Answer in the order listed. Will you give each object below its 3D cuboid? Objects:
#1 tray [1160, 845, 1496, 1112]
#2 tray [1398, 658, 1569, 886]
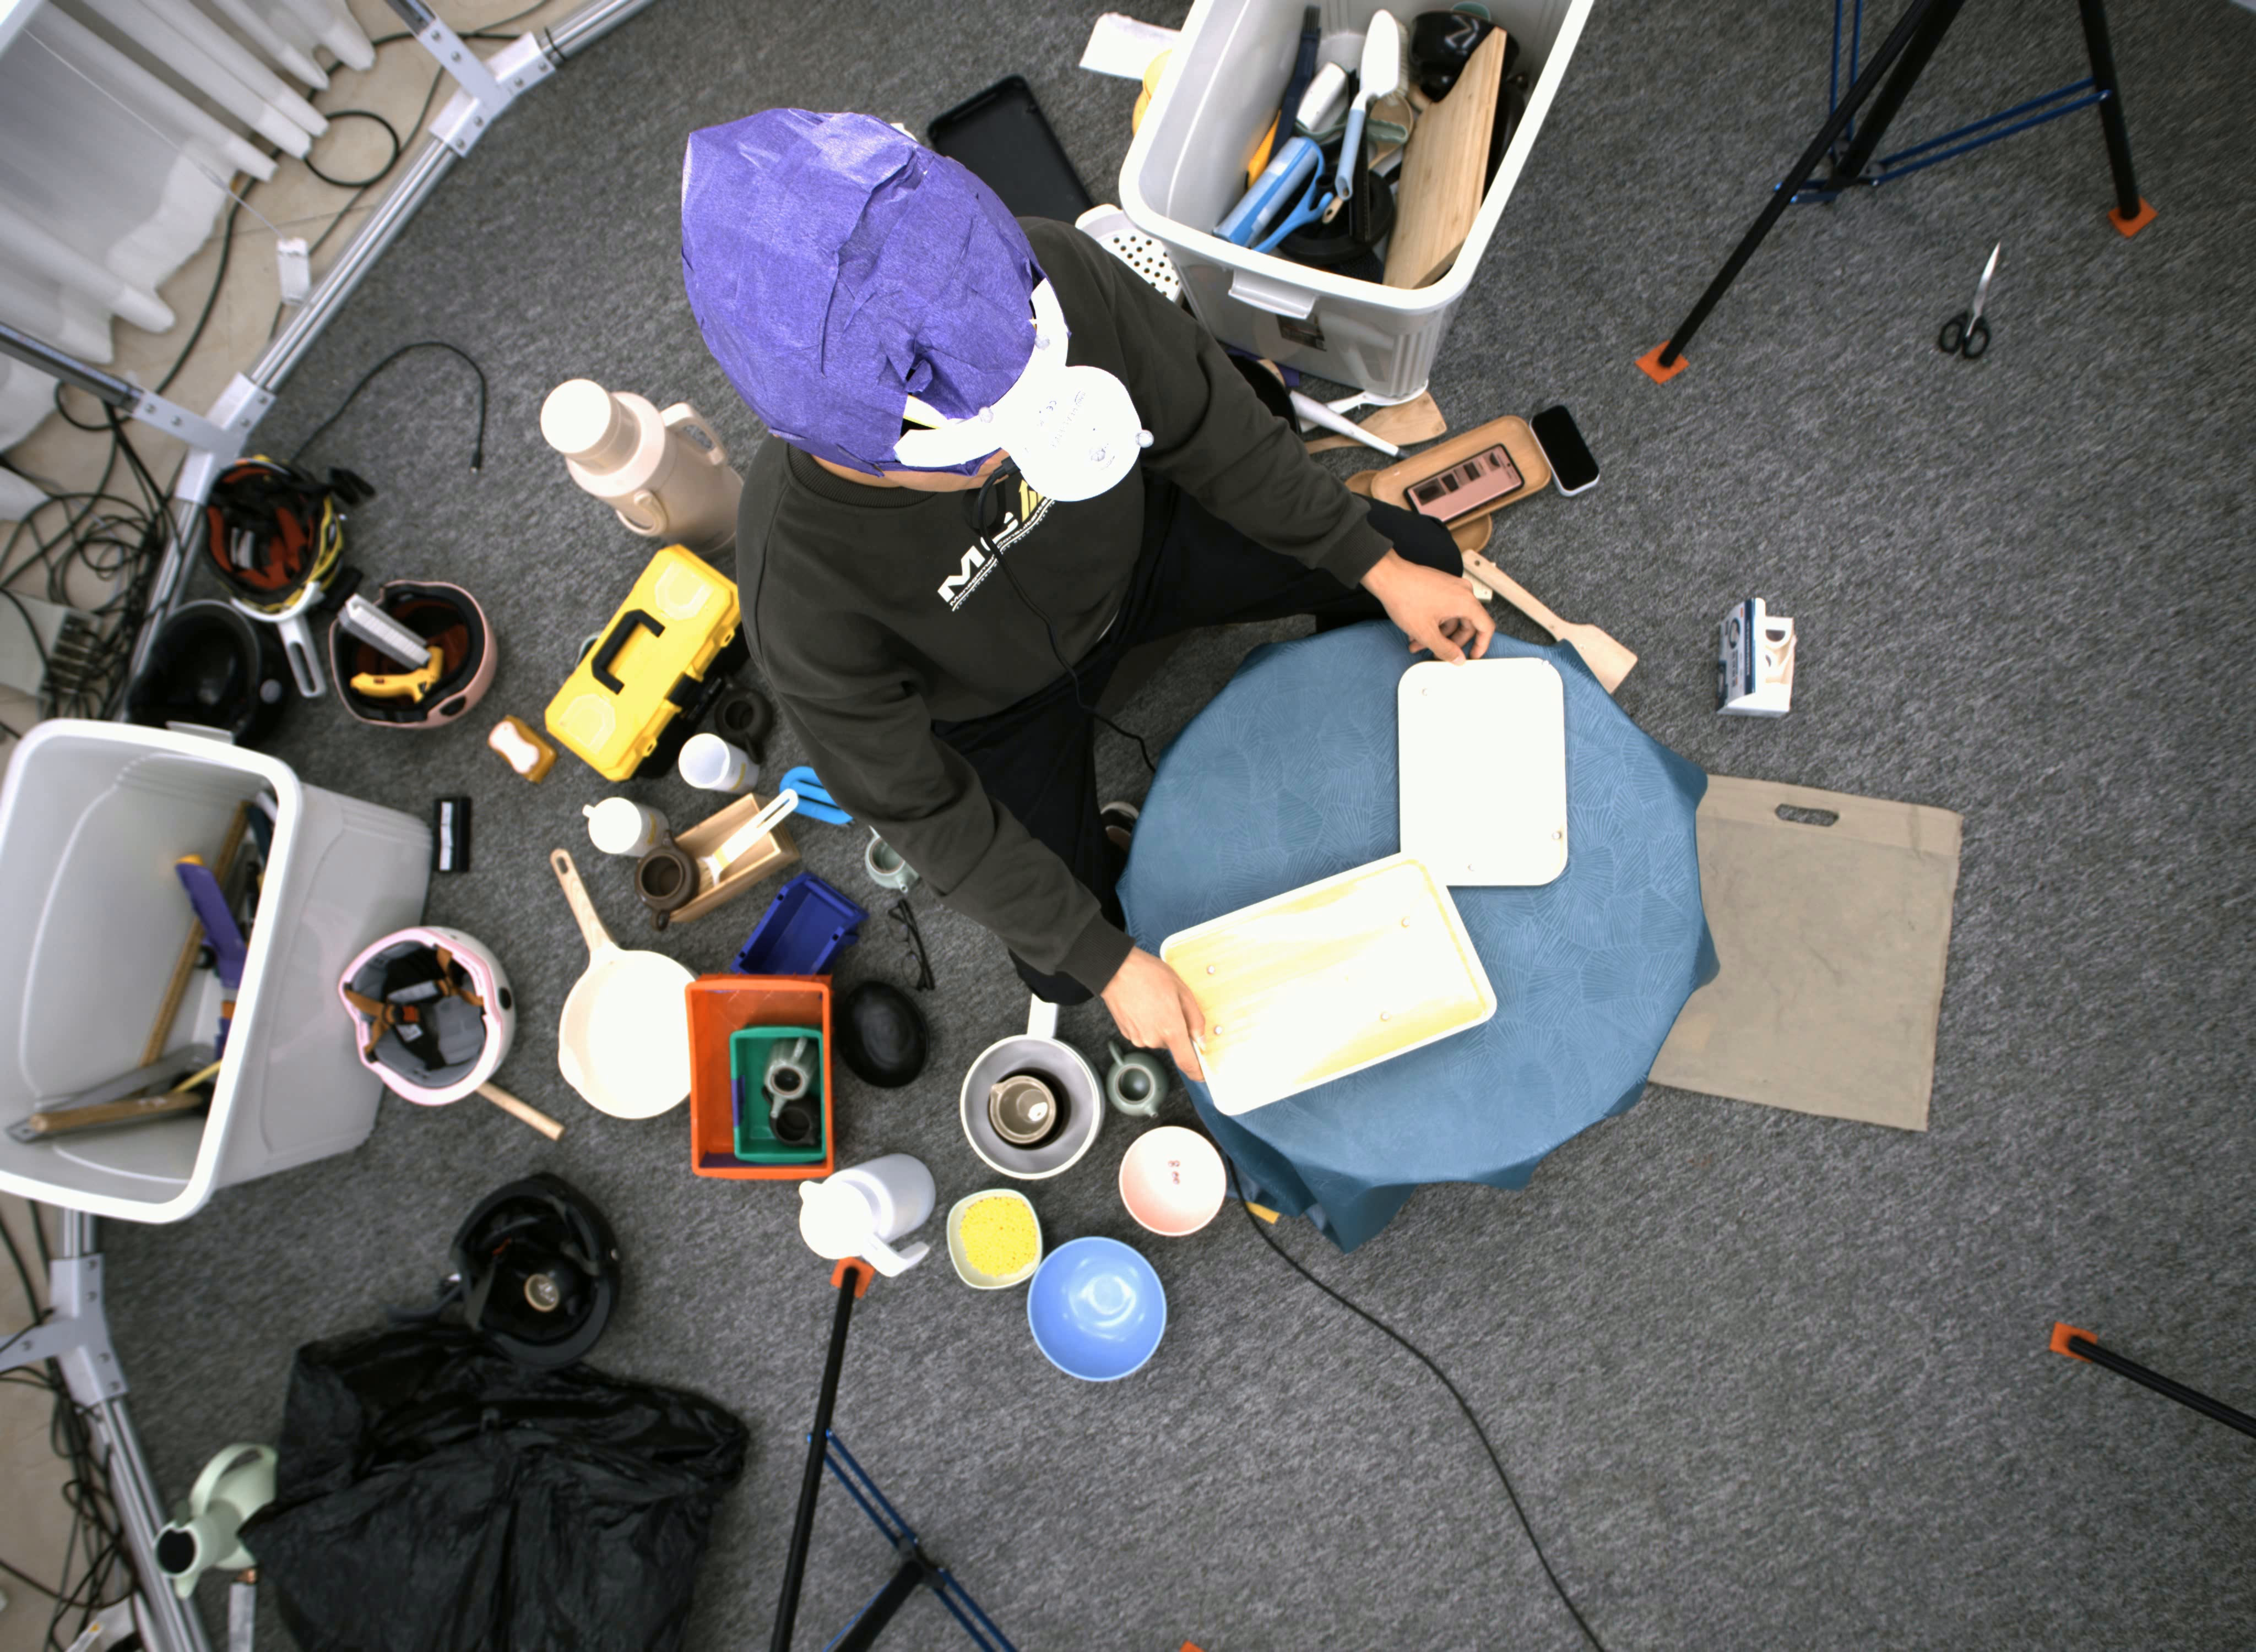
[{"bbox_3d":[0.200,0.151,1.398,0.300,0.028,0.189,-20,75,-4],"label":"tray"},{"bbox_3d":[0.371,-0.059,1.440,0.172,0.017,0.238,-1,86,11],"label":"tray"}]
